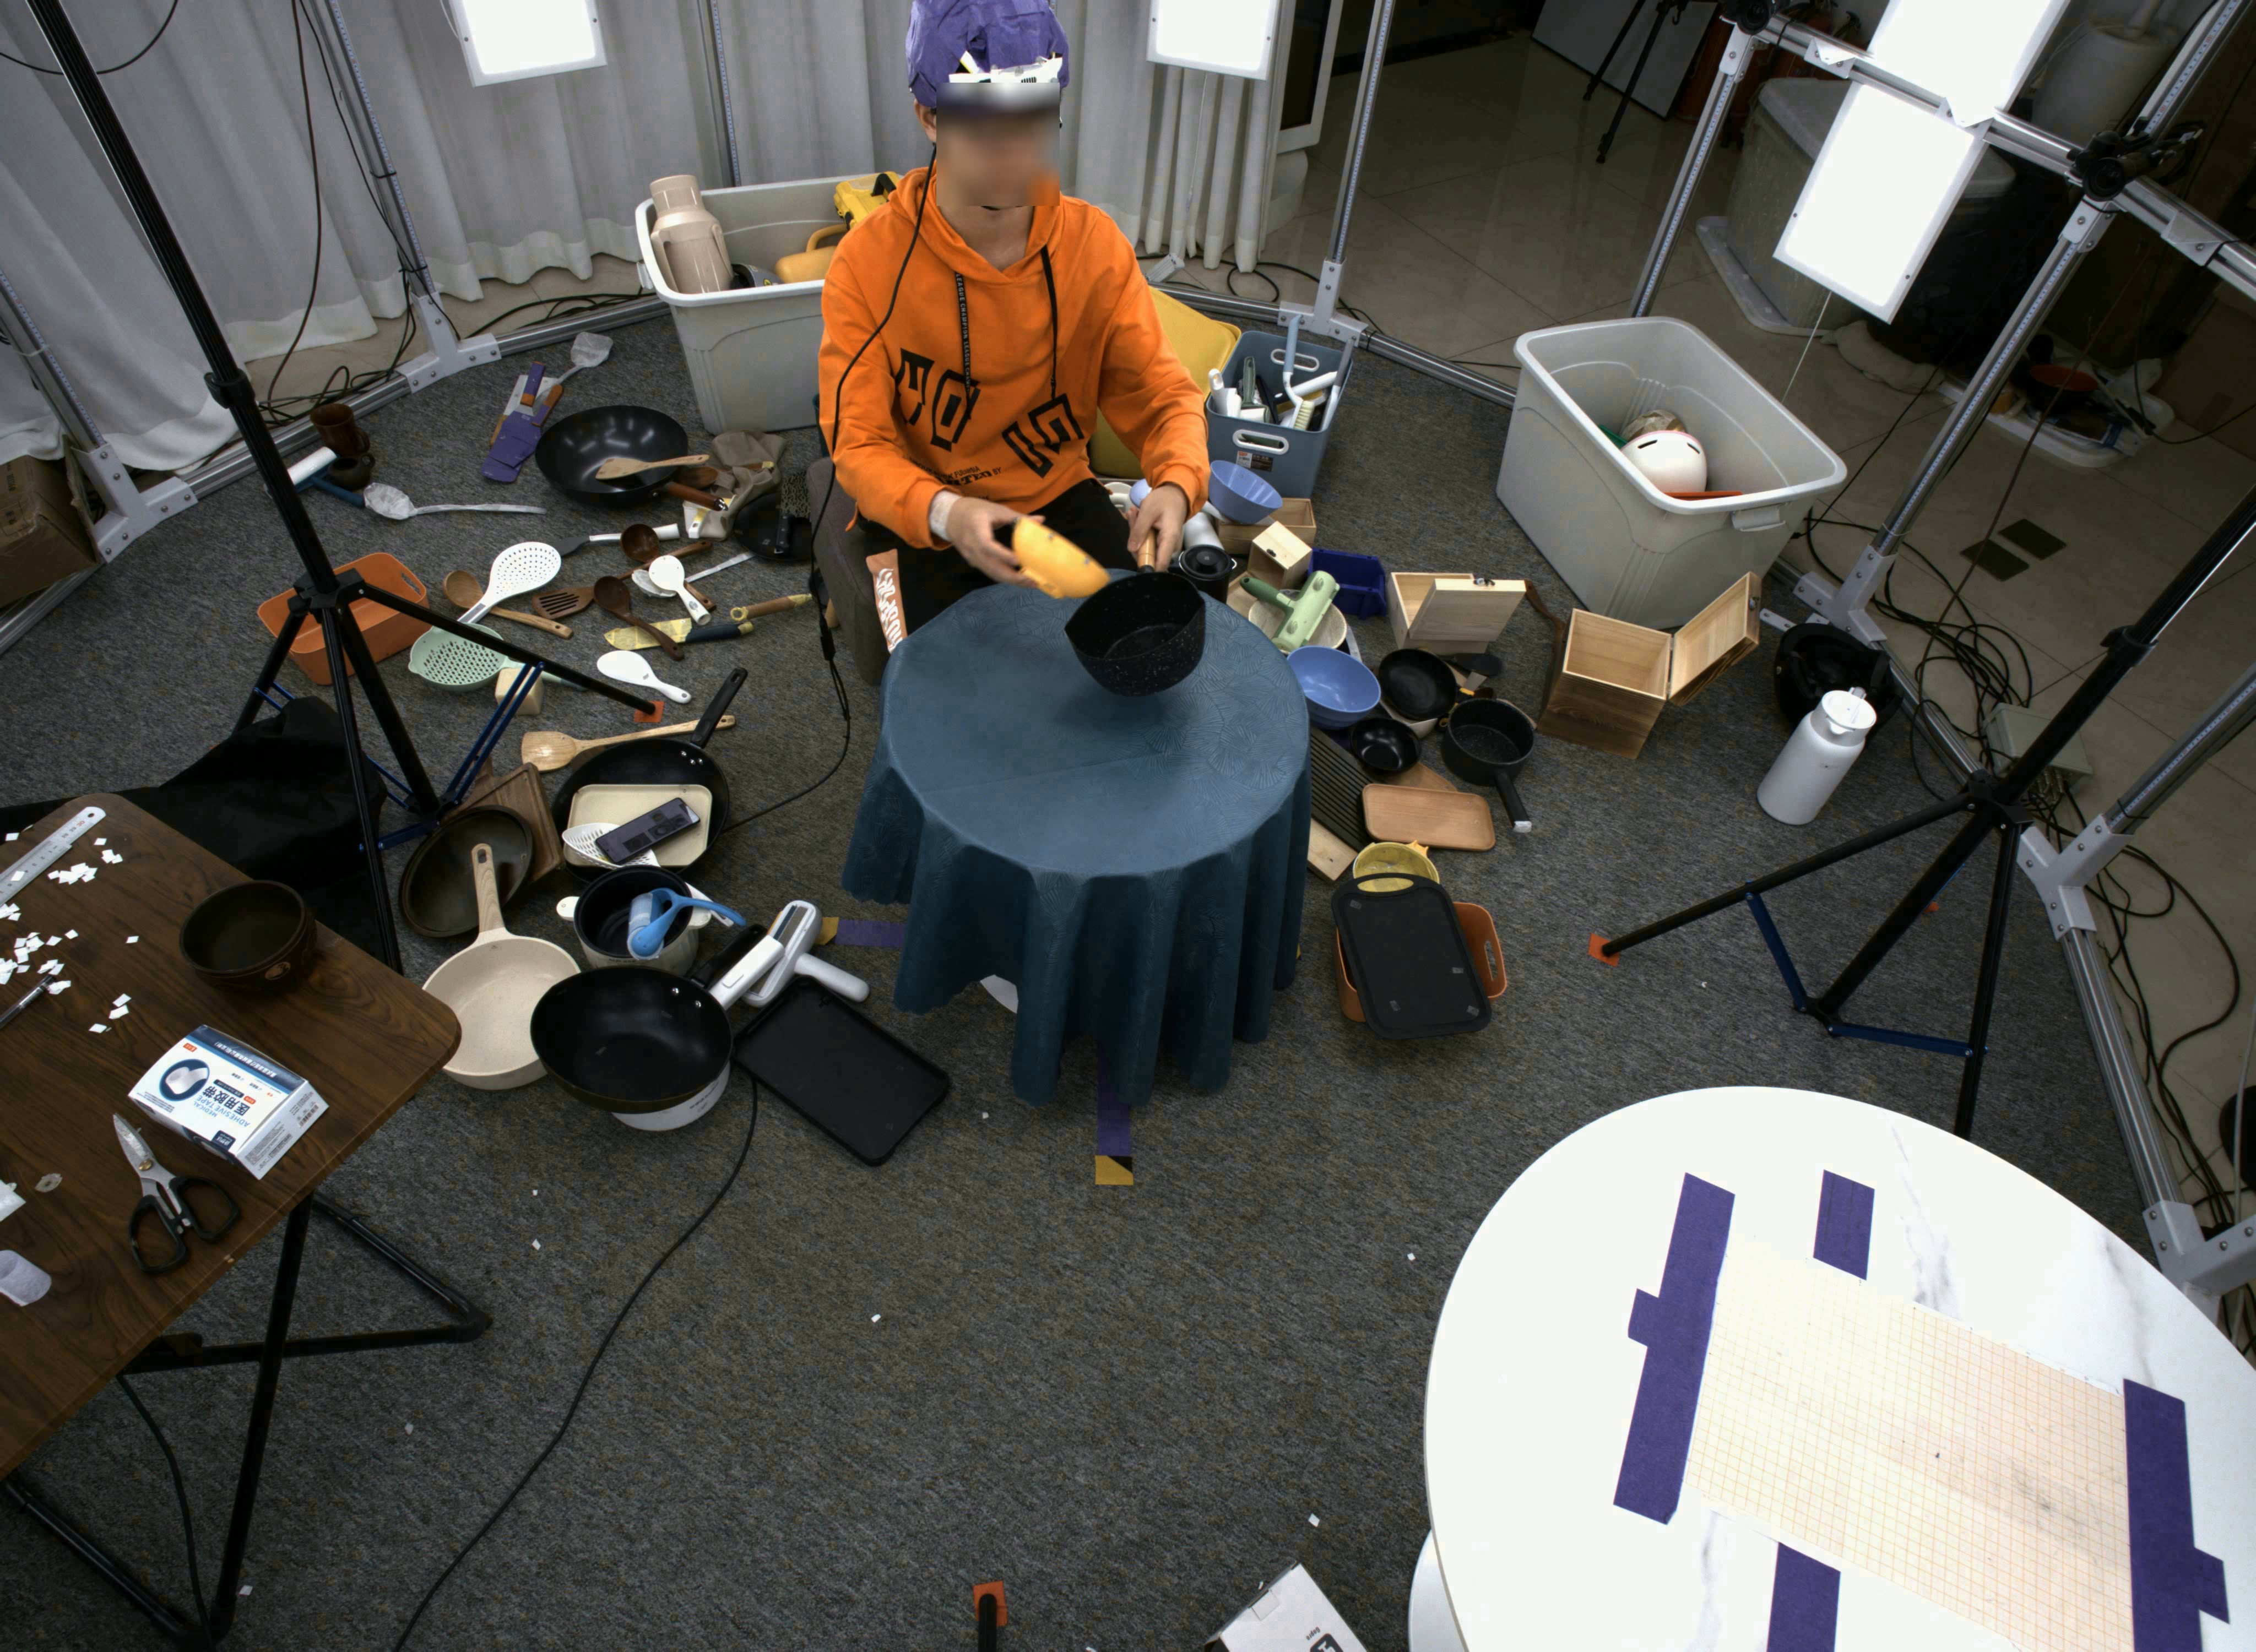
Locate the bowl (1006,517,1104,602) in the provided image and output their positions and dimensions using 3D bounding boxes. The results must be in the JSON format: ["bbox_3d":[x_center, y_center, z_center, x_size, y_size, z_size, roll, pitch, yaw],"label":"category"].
[{"bbox_3d":[-0.106,-0.335,1.676,0.147,0.143,0.060,34,91,22],"label":"bowl"}]

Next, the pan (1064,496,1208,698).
[{"bbox_3d":[0.024,-0.323,1.804,0.207,0.105,0.351,-9,45,17],"label":"pan"}]
